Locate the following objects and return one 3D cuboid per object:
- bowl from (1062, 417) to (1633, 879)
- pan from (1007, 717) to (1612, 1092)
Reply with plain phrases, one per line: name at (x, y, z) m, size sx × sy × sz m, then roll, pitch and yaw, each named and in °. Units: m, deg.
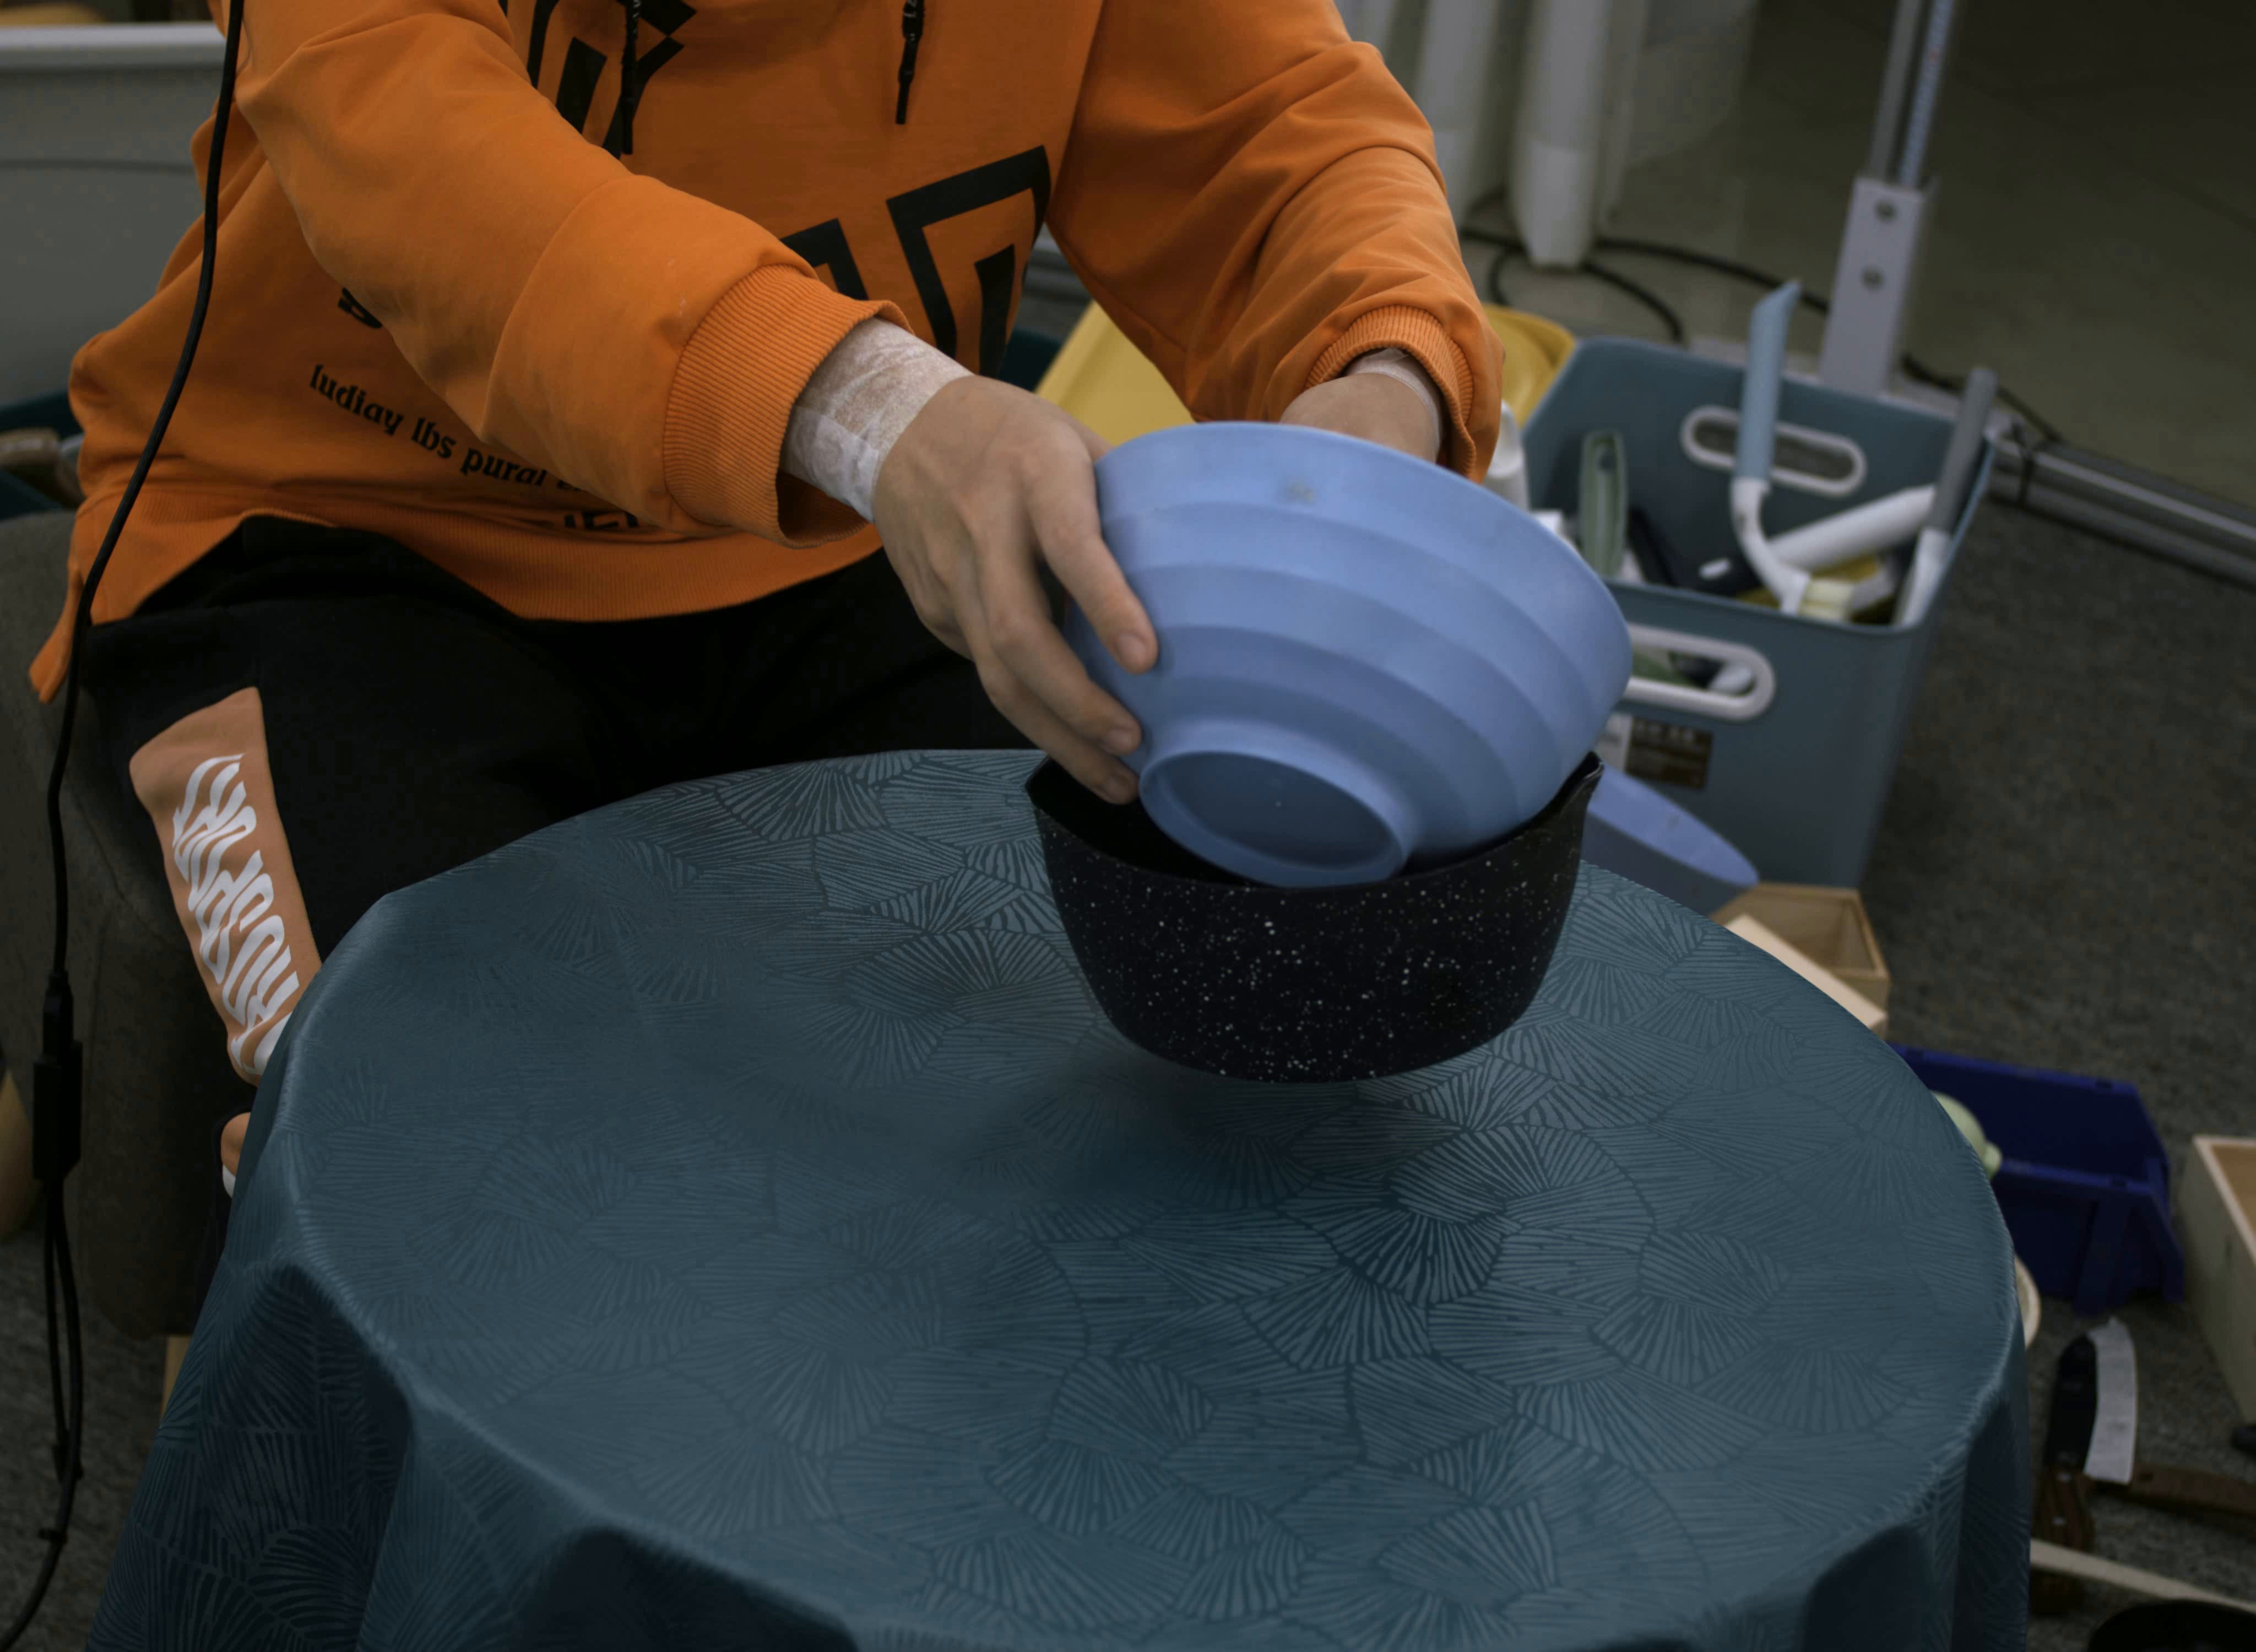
bowl at (0.060, -0.041, 1.764) m, size 0.196 × 0.195 × 0.096 m, roll 14°, pitch 63°, yaw 13°
pan at (0.063, -0.026, 1.893) m, size 0.207 × 0.108 × 0.345 m, roll -4°, pitch 26°, yaw 2°
